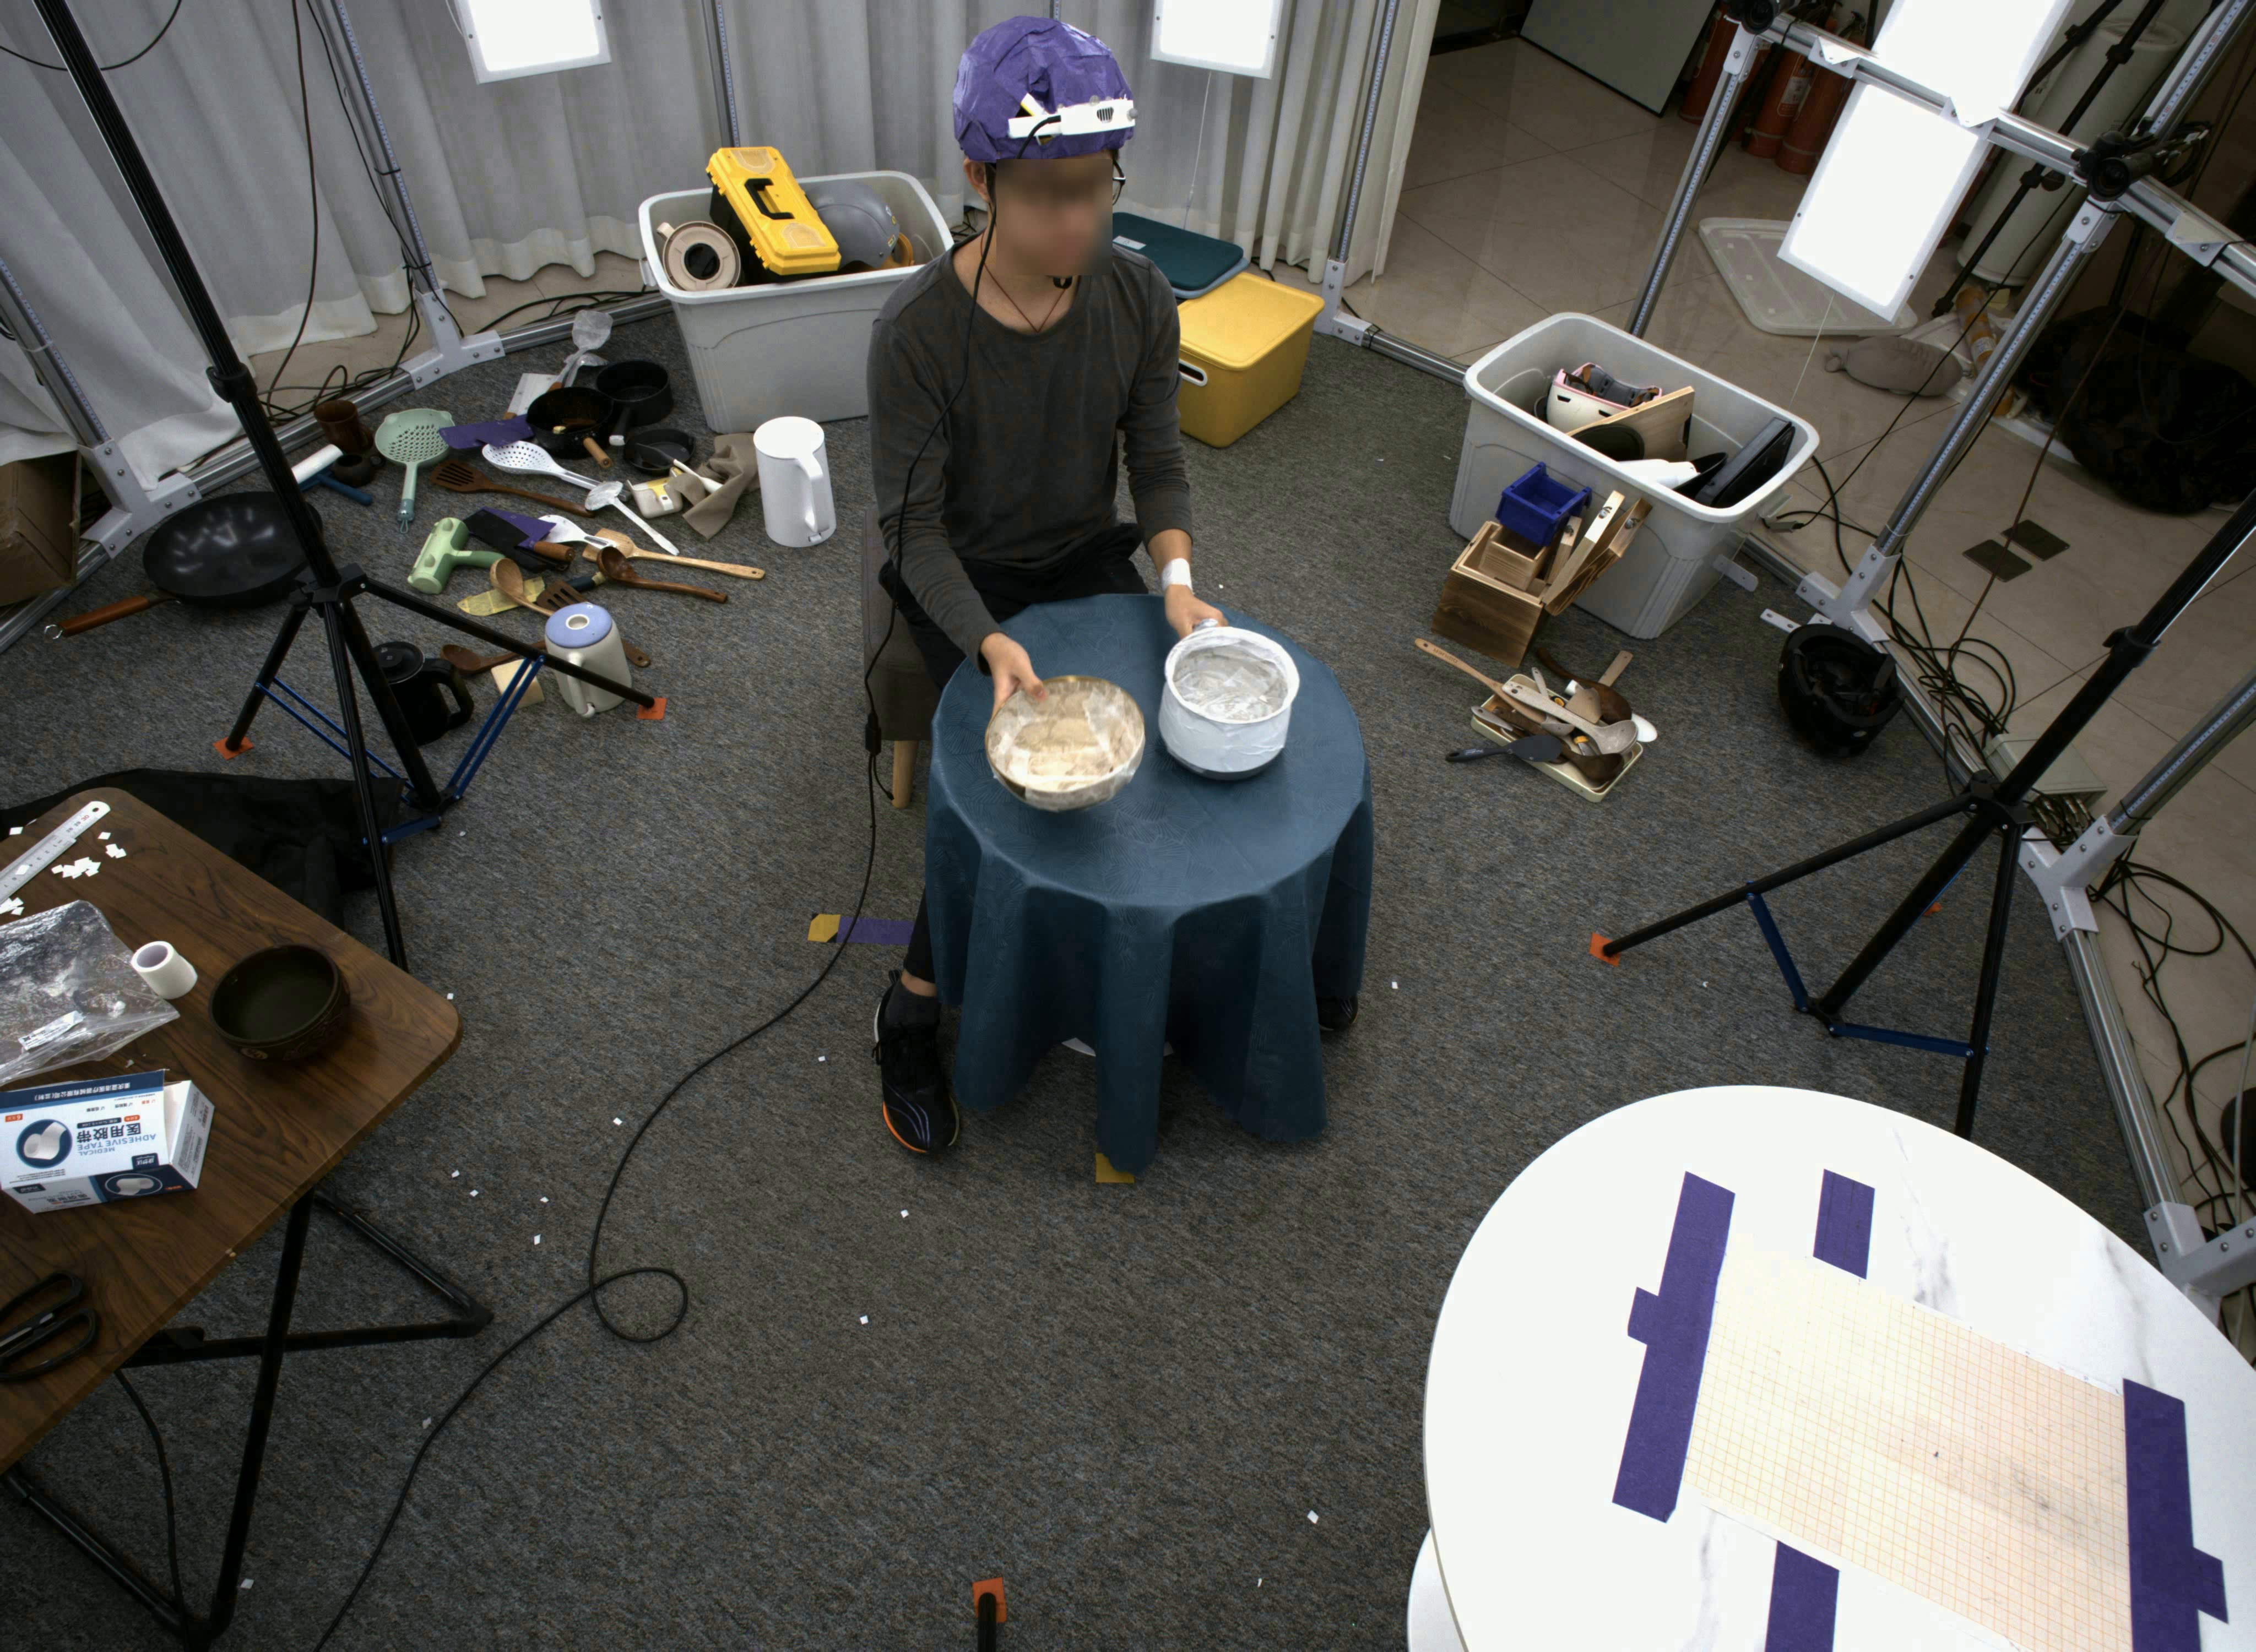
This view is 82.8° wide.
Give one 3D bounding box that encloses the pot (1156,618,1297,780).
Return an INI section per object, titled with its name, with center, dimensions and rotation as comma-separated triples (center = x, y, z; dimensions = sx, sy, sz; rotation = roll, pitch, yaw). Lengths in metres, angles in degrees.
[pot]
center = 0.122, -0.182, 1.742
dimensions = 0.178, 0.133, 0.239
rotation = -9, 52, -12

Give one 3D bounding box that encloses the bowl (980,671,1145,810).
[bowl]
center = -0.073, -0.094, 1.605
dimensions = 0.214, 0.092, 0.220
rotation = -7, 47, 7
